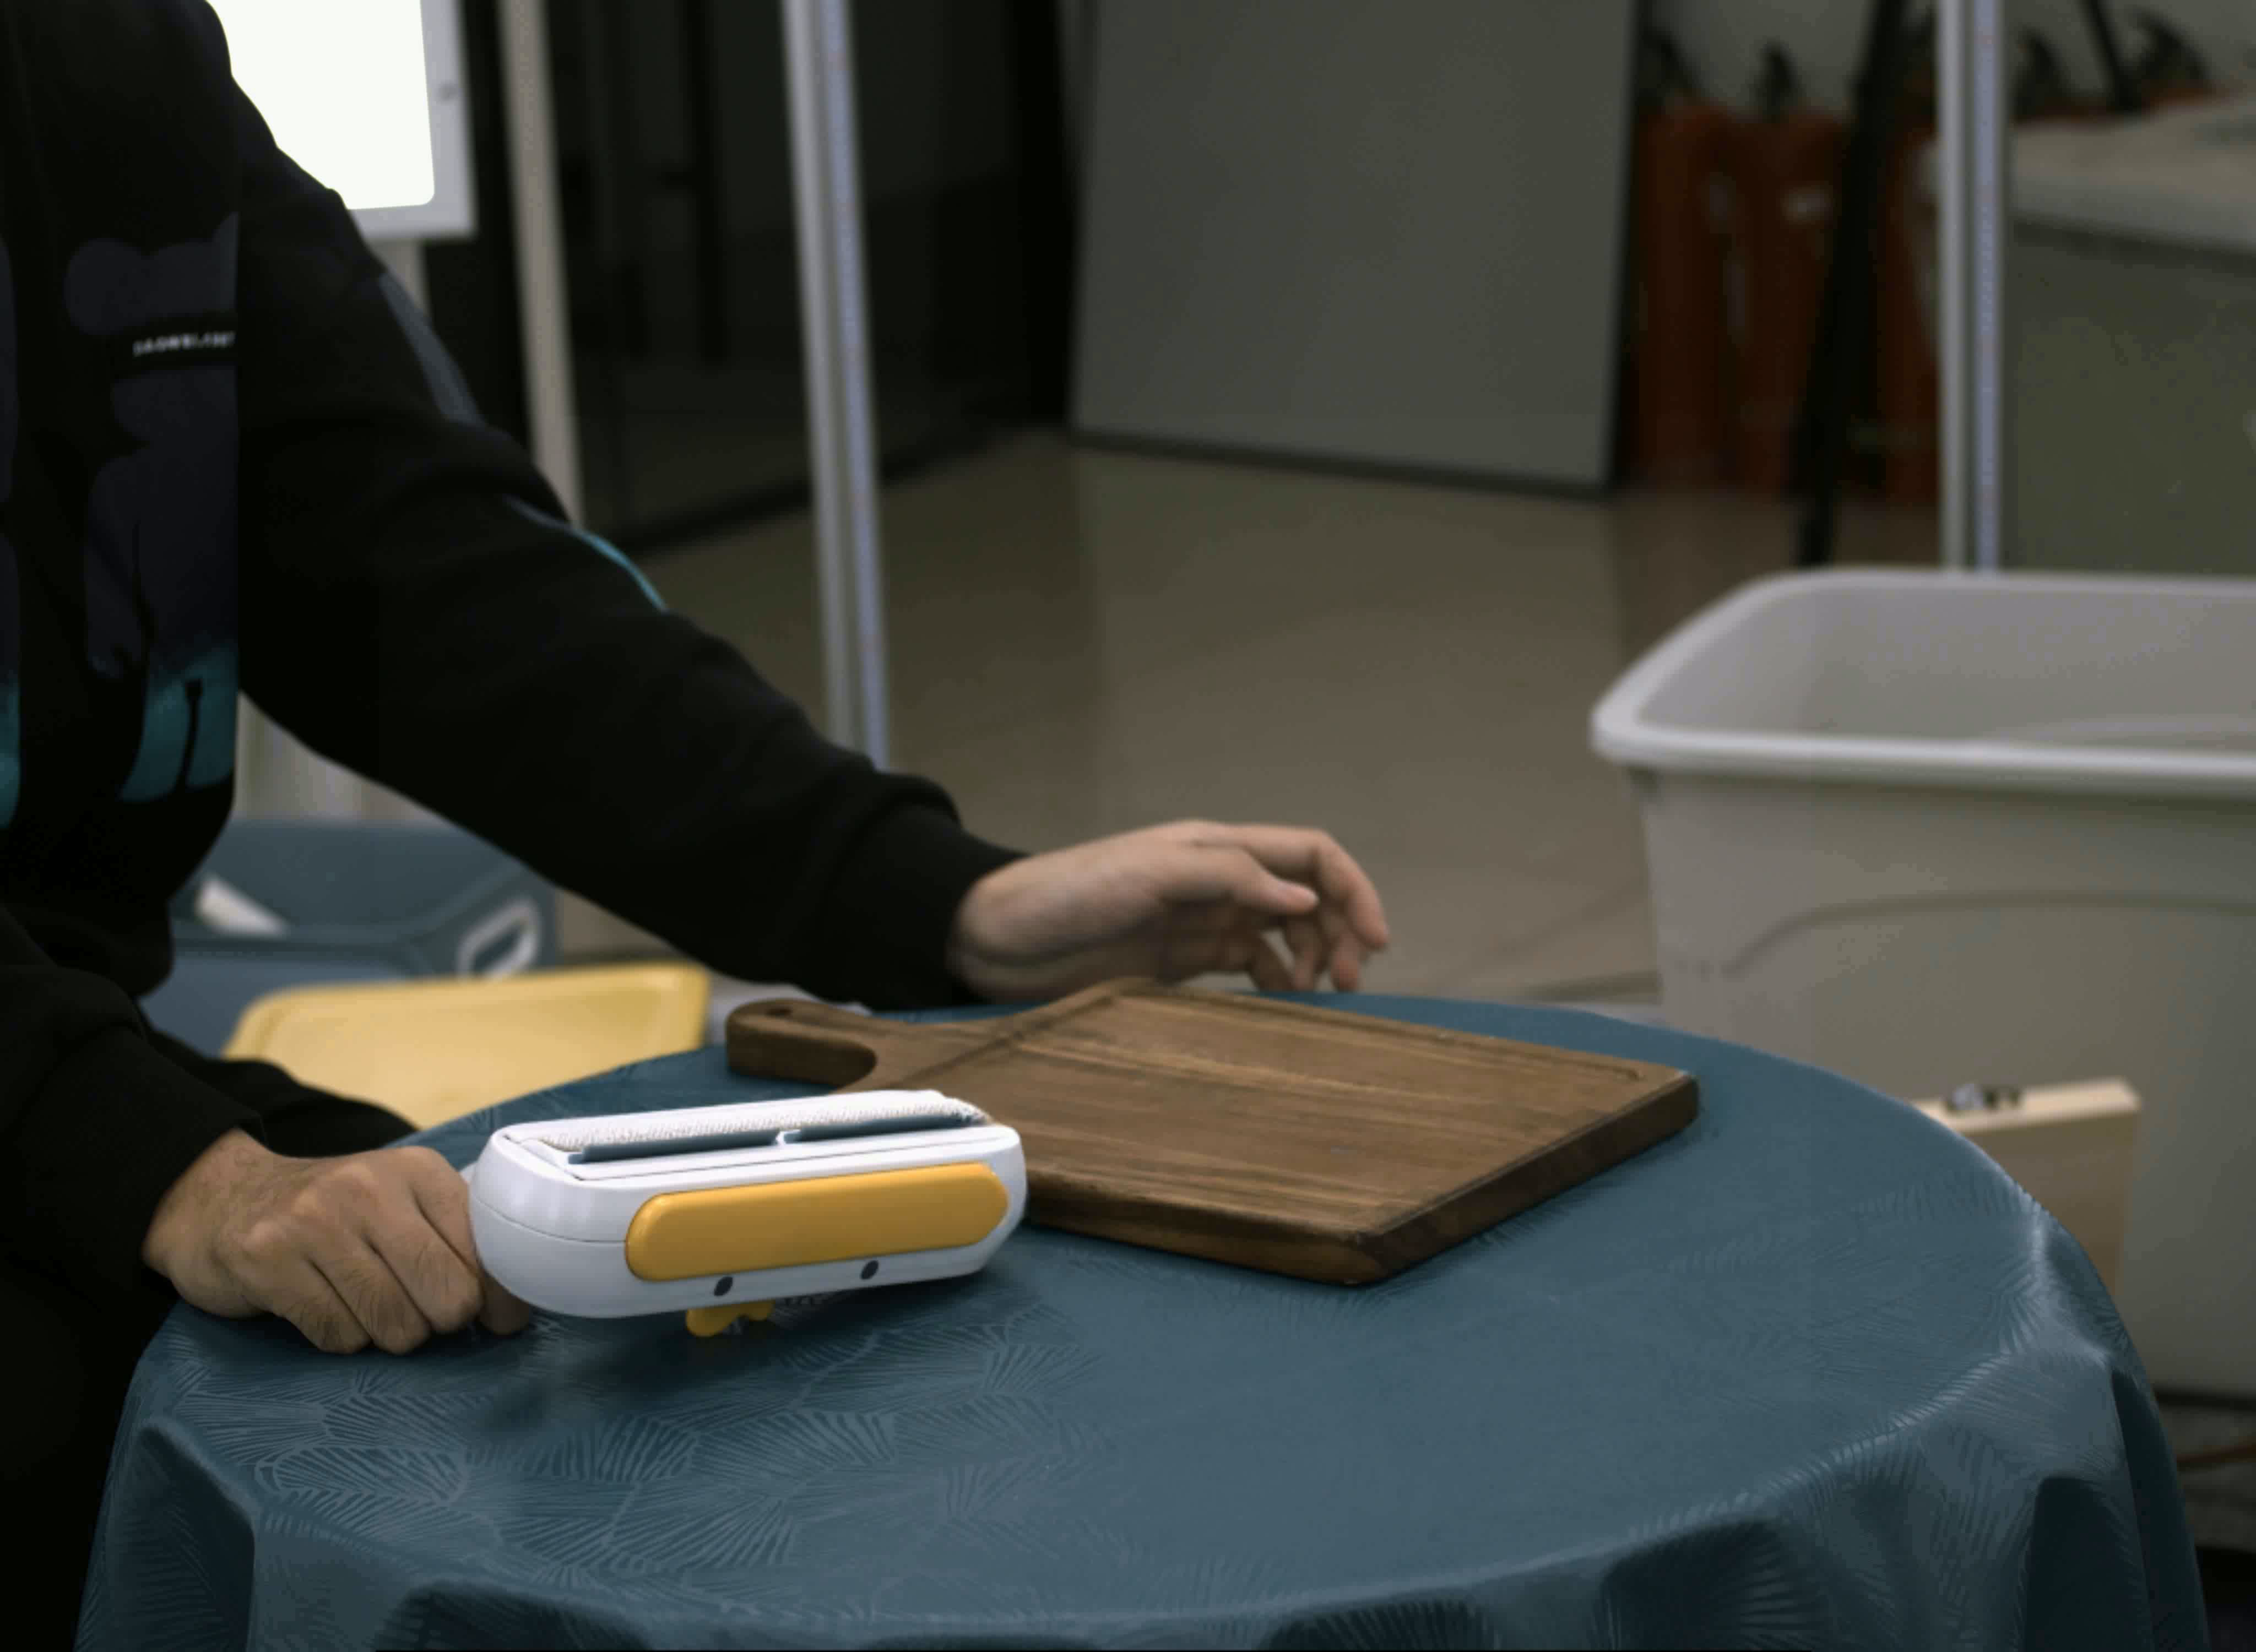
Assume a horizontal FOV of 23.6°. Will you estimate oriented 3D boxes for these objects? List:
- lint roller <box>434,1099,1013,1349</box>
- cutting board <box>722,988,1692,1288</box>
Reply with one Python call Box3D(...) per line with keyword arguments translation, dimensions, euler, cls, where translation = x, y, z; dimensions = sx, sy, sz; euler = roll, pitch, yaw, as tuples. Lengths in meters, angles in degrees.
Box3D(translation=(-0.155, 0.116, 1.700), dimensions=(0.188, 0.075, 0.194), euler=(-7, 11, -36), cls="lint roller")
Box3D(translation=(-0.002, 0.096, 1.835), dimensions=(0.355, 0.023, 0.197), euler=(7, 18, 39), cls="cutting board")
